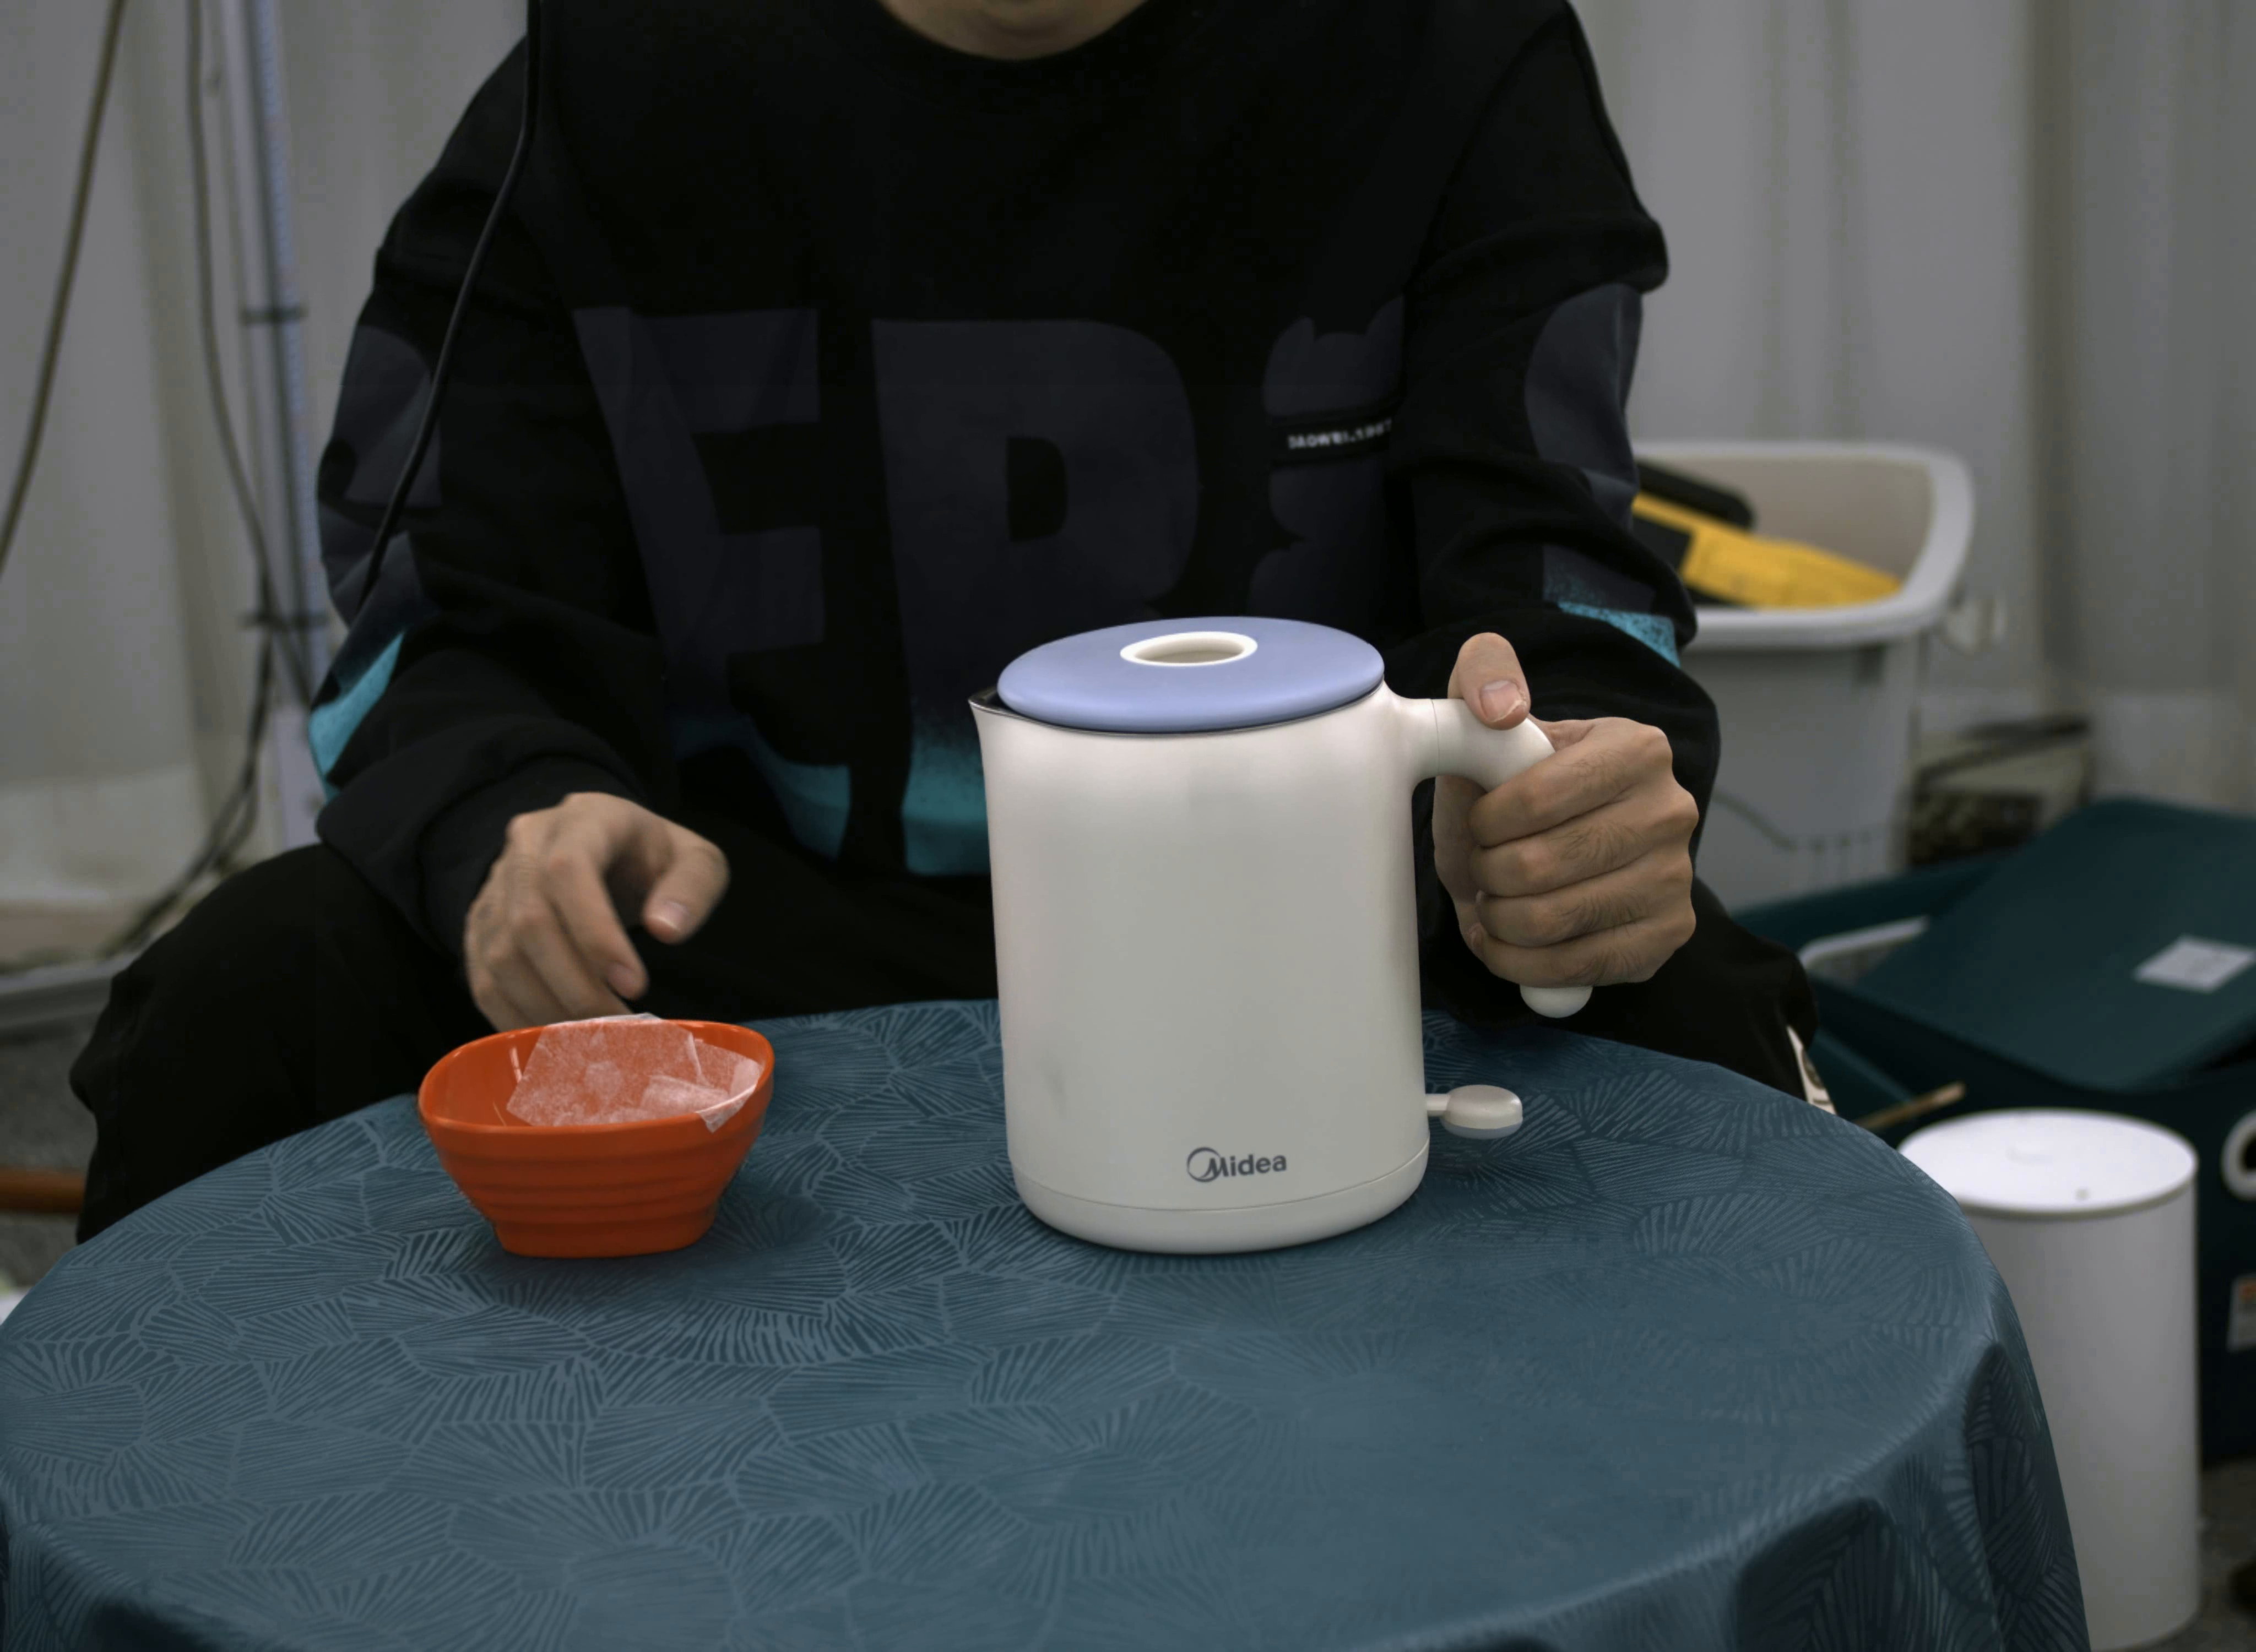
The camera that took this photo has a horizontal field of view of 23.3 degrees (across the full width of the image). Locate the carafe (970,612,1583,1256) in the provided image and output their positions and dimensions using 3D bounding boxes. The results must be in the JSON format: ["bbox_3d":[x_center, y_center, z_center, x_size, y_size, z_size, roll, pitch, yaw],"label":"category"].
[{"bbox_3d":[0.047,0.031,1.691,0.190,0.182,0.133,-2,15,-6],"label":"carafe"}]

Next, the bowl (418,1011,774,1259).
[{"bbox_3d":[-0.163,0.099,1.704,0.118,0.051,0.120,-5,17,1],"label":"bowl"}]
